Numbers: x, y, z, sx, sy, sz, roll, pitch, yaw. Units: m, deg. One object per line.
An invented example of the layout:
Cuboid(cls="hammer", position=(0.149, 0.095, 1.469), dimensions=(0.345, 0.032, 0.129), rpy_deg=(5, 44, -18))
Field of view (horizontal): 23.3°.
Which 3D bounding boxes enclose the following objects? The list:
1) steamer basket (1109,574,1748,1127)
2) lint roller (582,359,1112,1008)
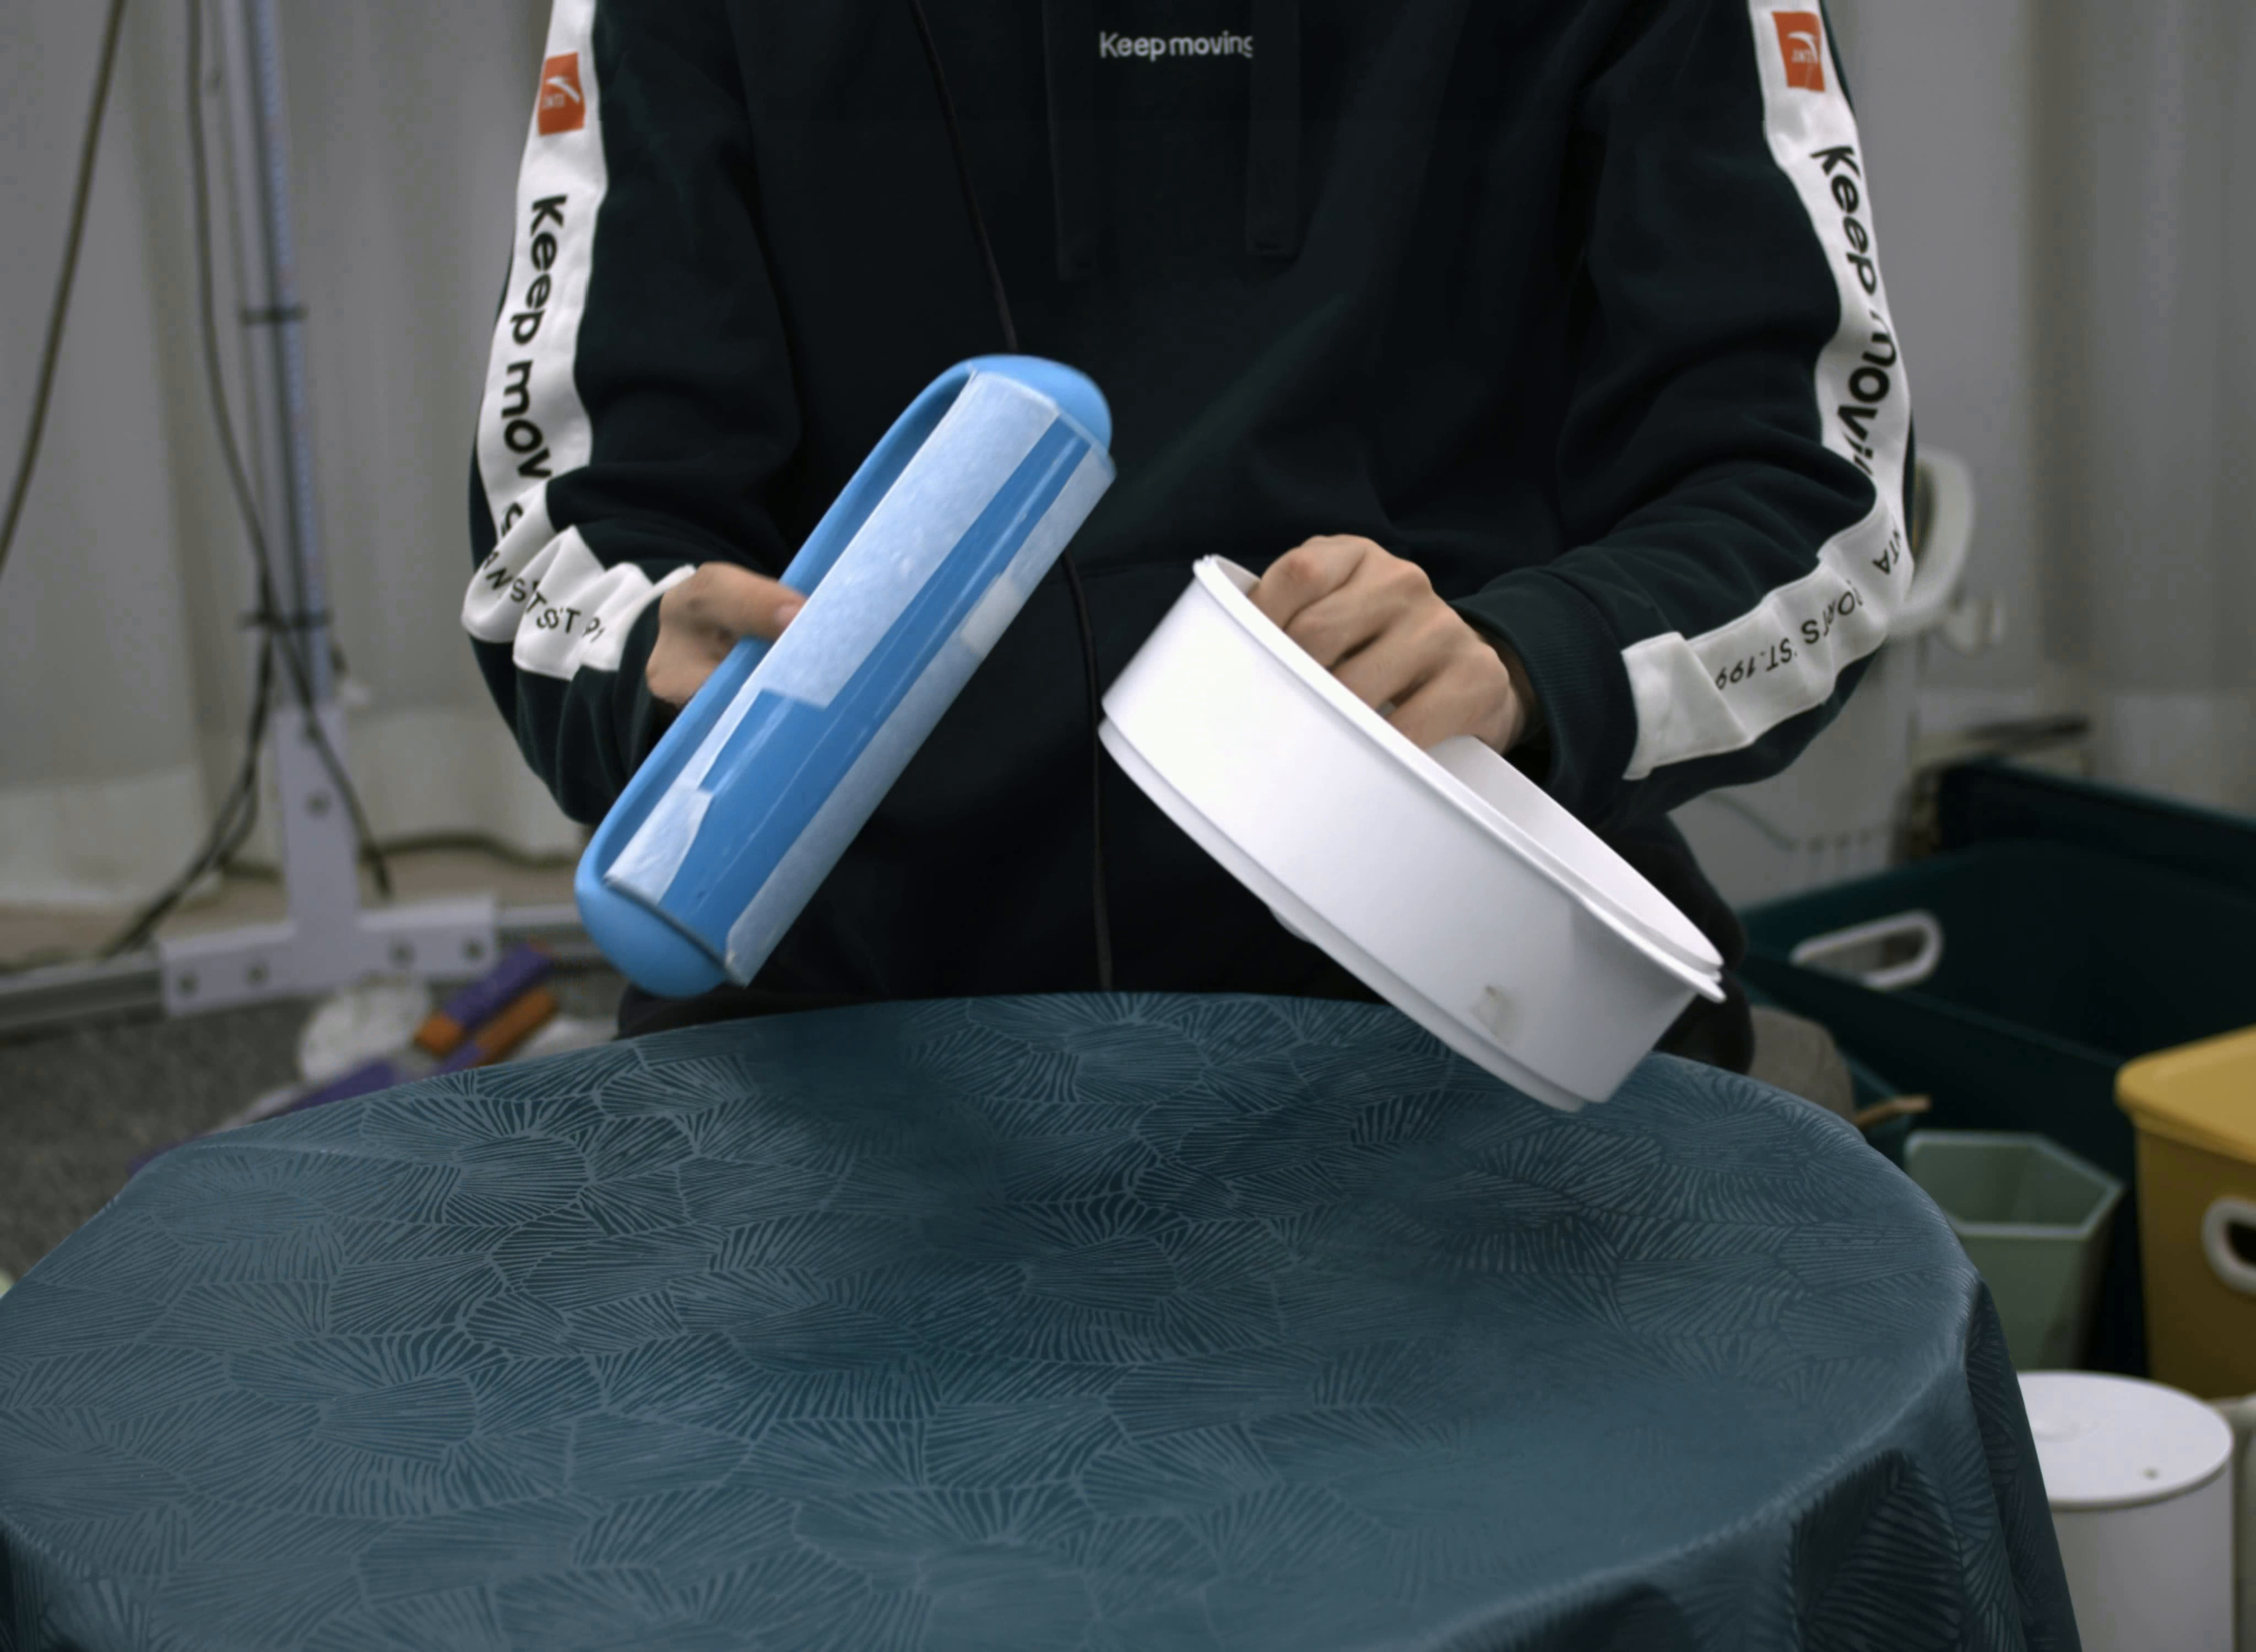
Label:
Cuboid(cls="steamer basket", position=(0.085, 0.010, 1.635), dimensions=(0.233, 0.069, 0.199), rpy_deg=(41, 6, 41))
Cuboid(cls="lint roller", position=(-0.095, -0.036, 1.690), dimensions=(0.067, 0.230, 0.180), rpy_deg=(35, -15, -8))
